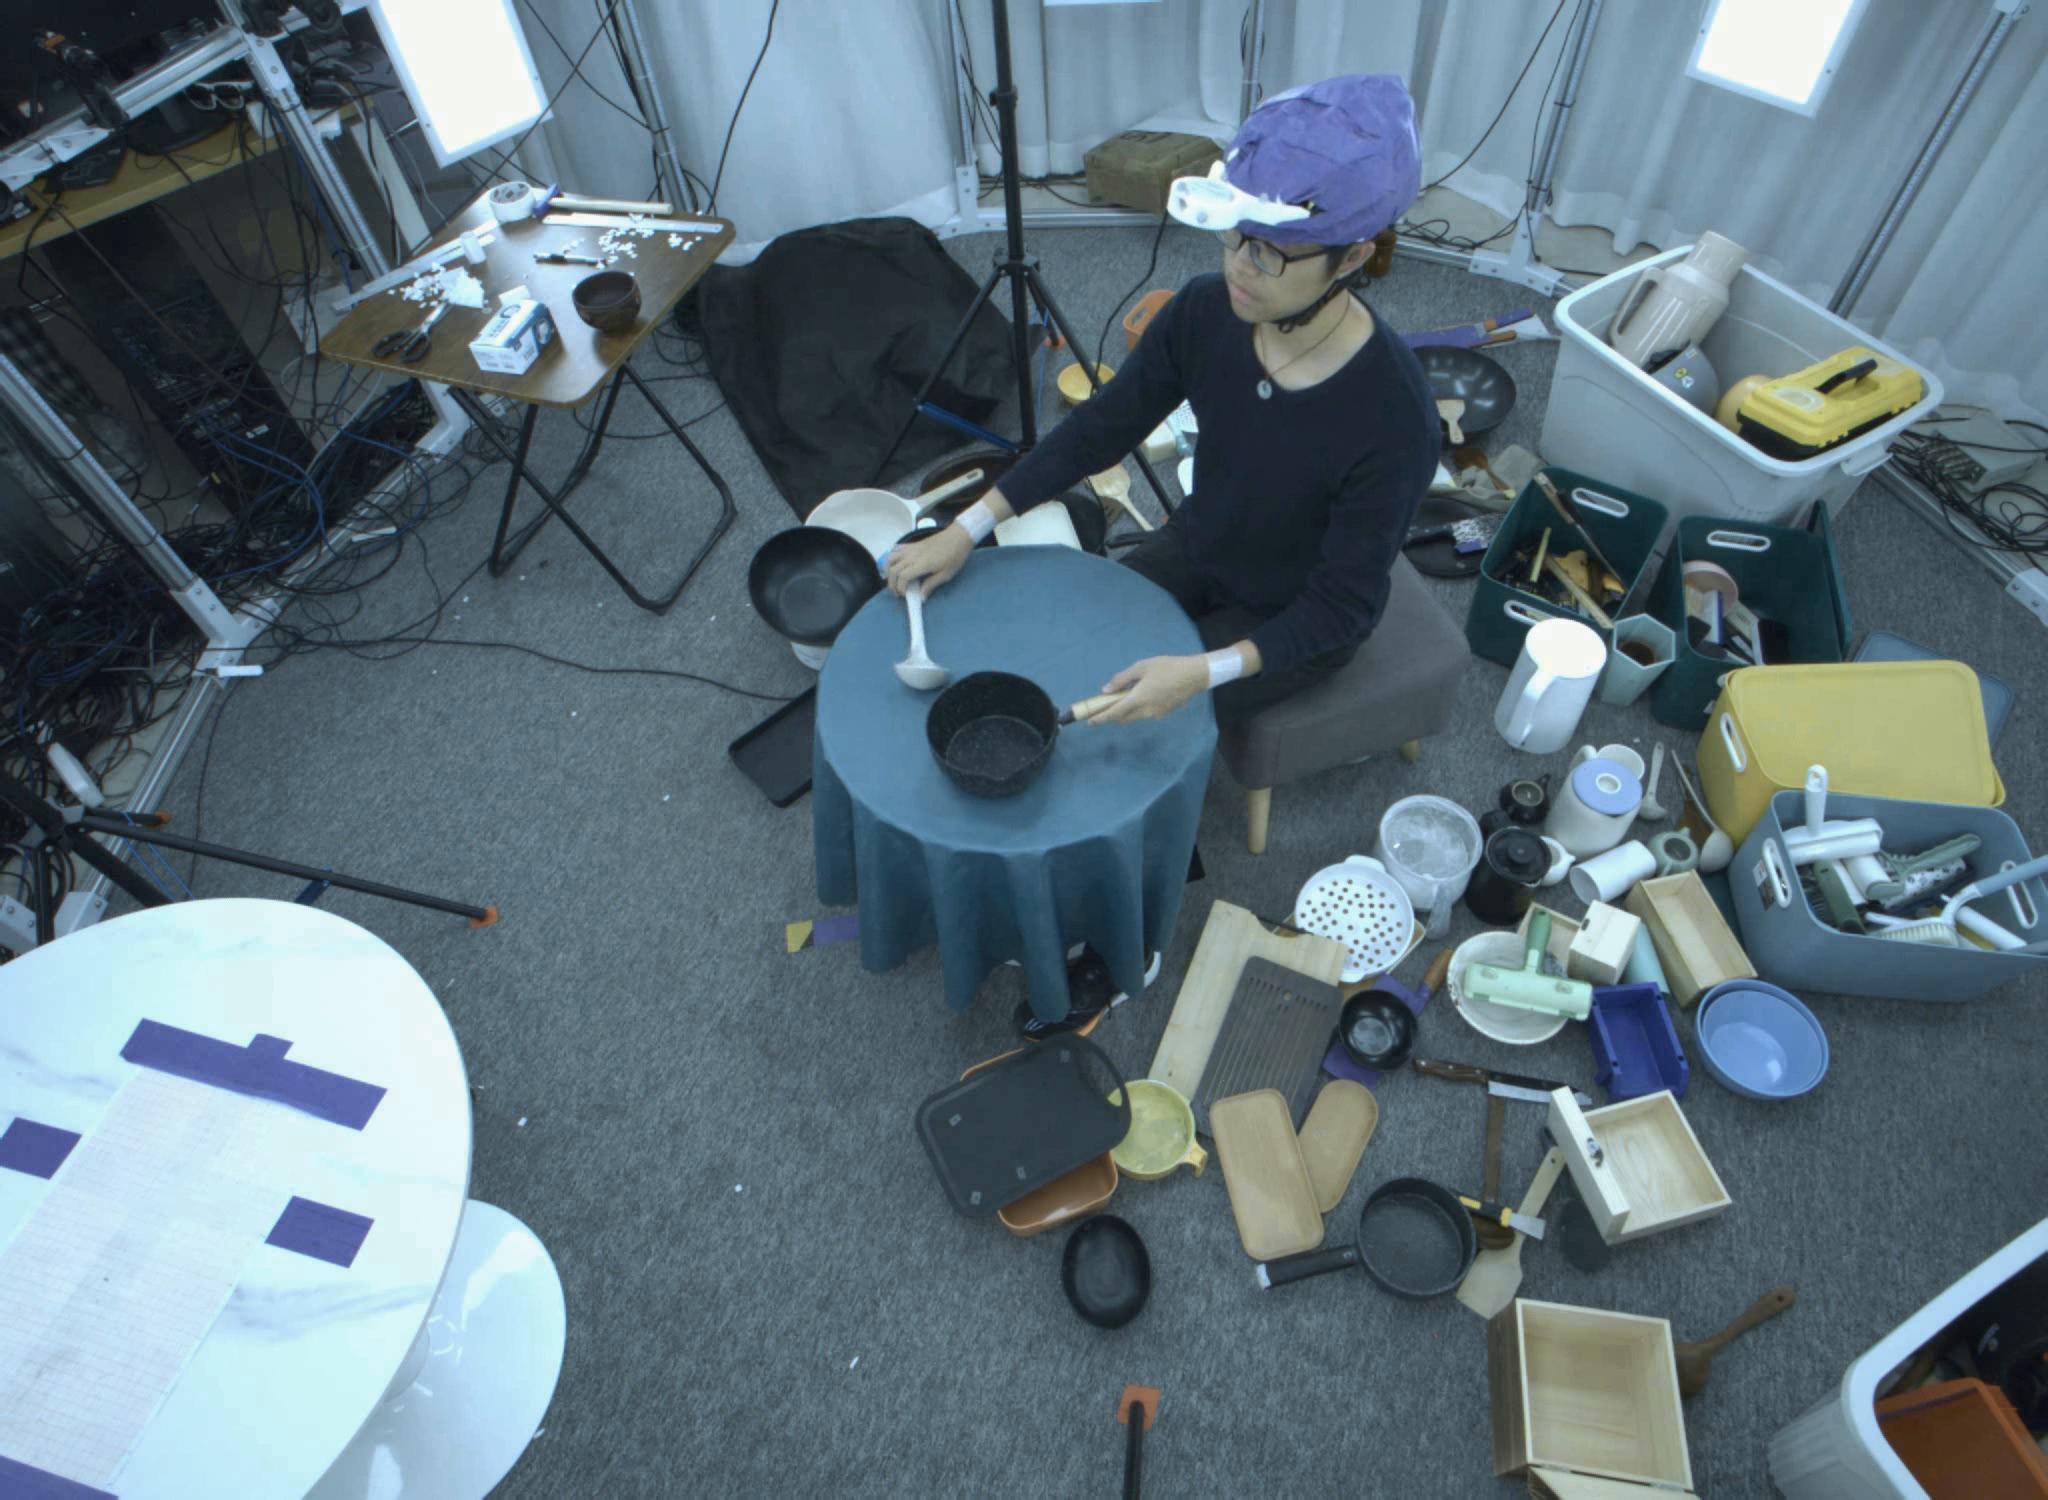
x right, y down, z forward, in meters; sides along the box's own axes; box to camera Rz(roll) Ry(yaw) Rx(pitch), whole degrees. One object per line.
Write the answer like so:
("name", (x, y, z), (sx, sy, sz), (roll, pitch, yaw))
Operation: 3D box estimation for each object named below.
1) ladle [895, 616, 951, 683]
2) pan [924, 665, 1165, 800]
("ladle", (-0.136, -0.182, 1.927), (0.090, 0.069, 0.274), (36, 27, -8))
("pan", (0.033, -0.037, 1.746), (0.344, 0.109, 0.204), (-12, 54, -4))
